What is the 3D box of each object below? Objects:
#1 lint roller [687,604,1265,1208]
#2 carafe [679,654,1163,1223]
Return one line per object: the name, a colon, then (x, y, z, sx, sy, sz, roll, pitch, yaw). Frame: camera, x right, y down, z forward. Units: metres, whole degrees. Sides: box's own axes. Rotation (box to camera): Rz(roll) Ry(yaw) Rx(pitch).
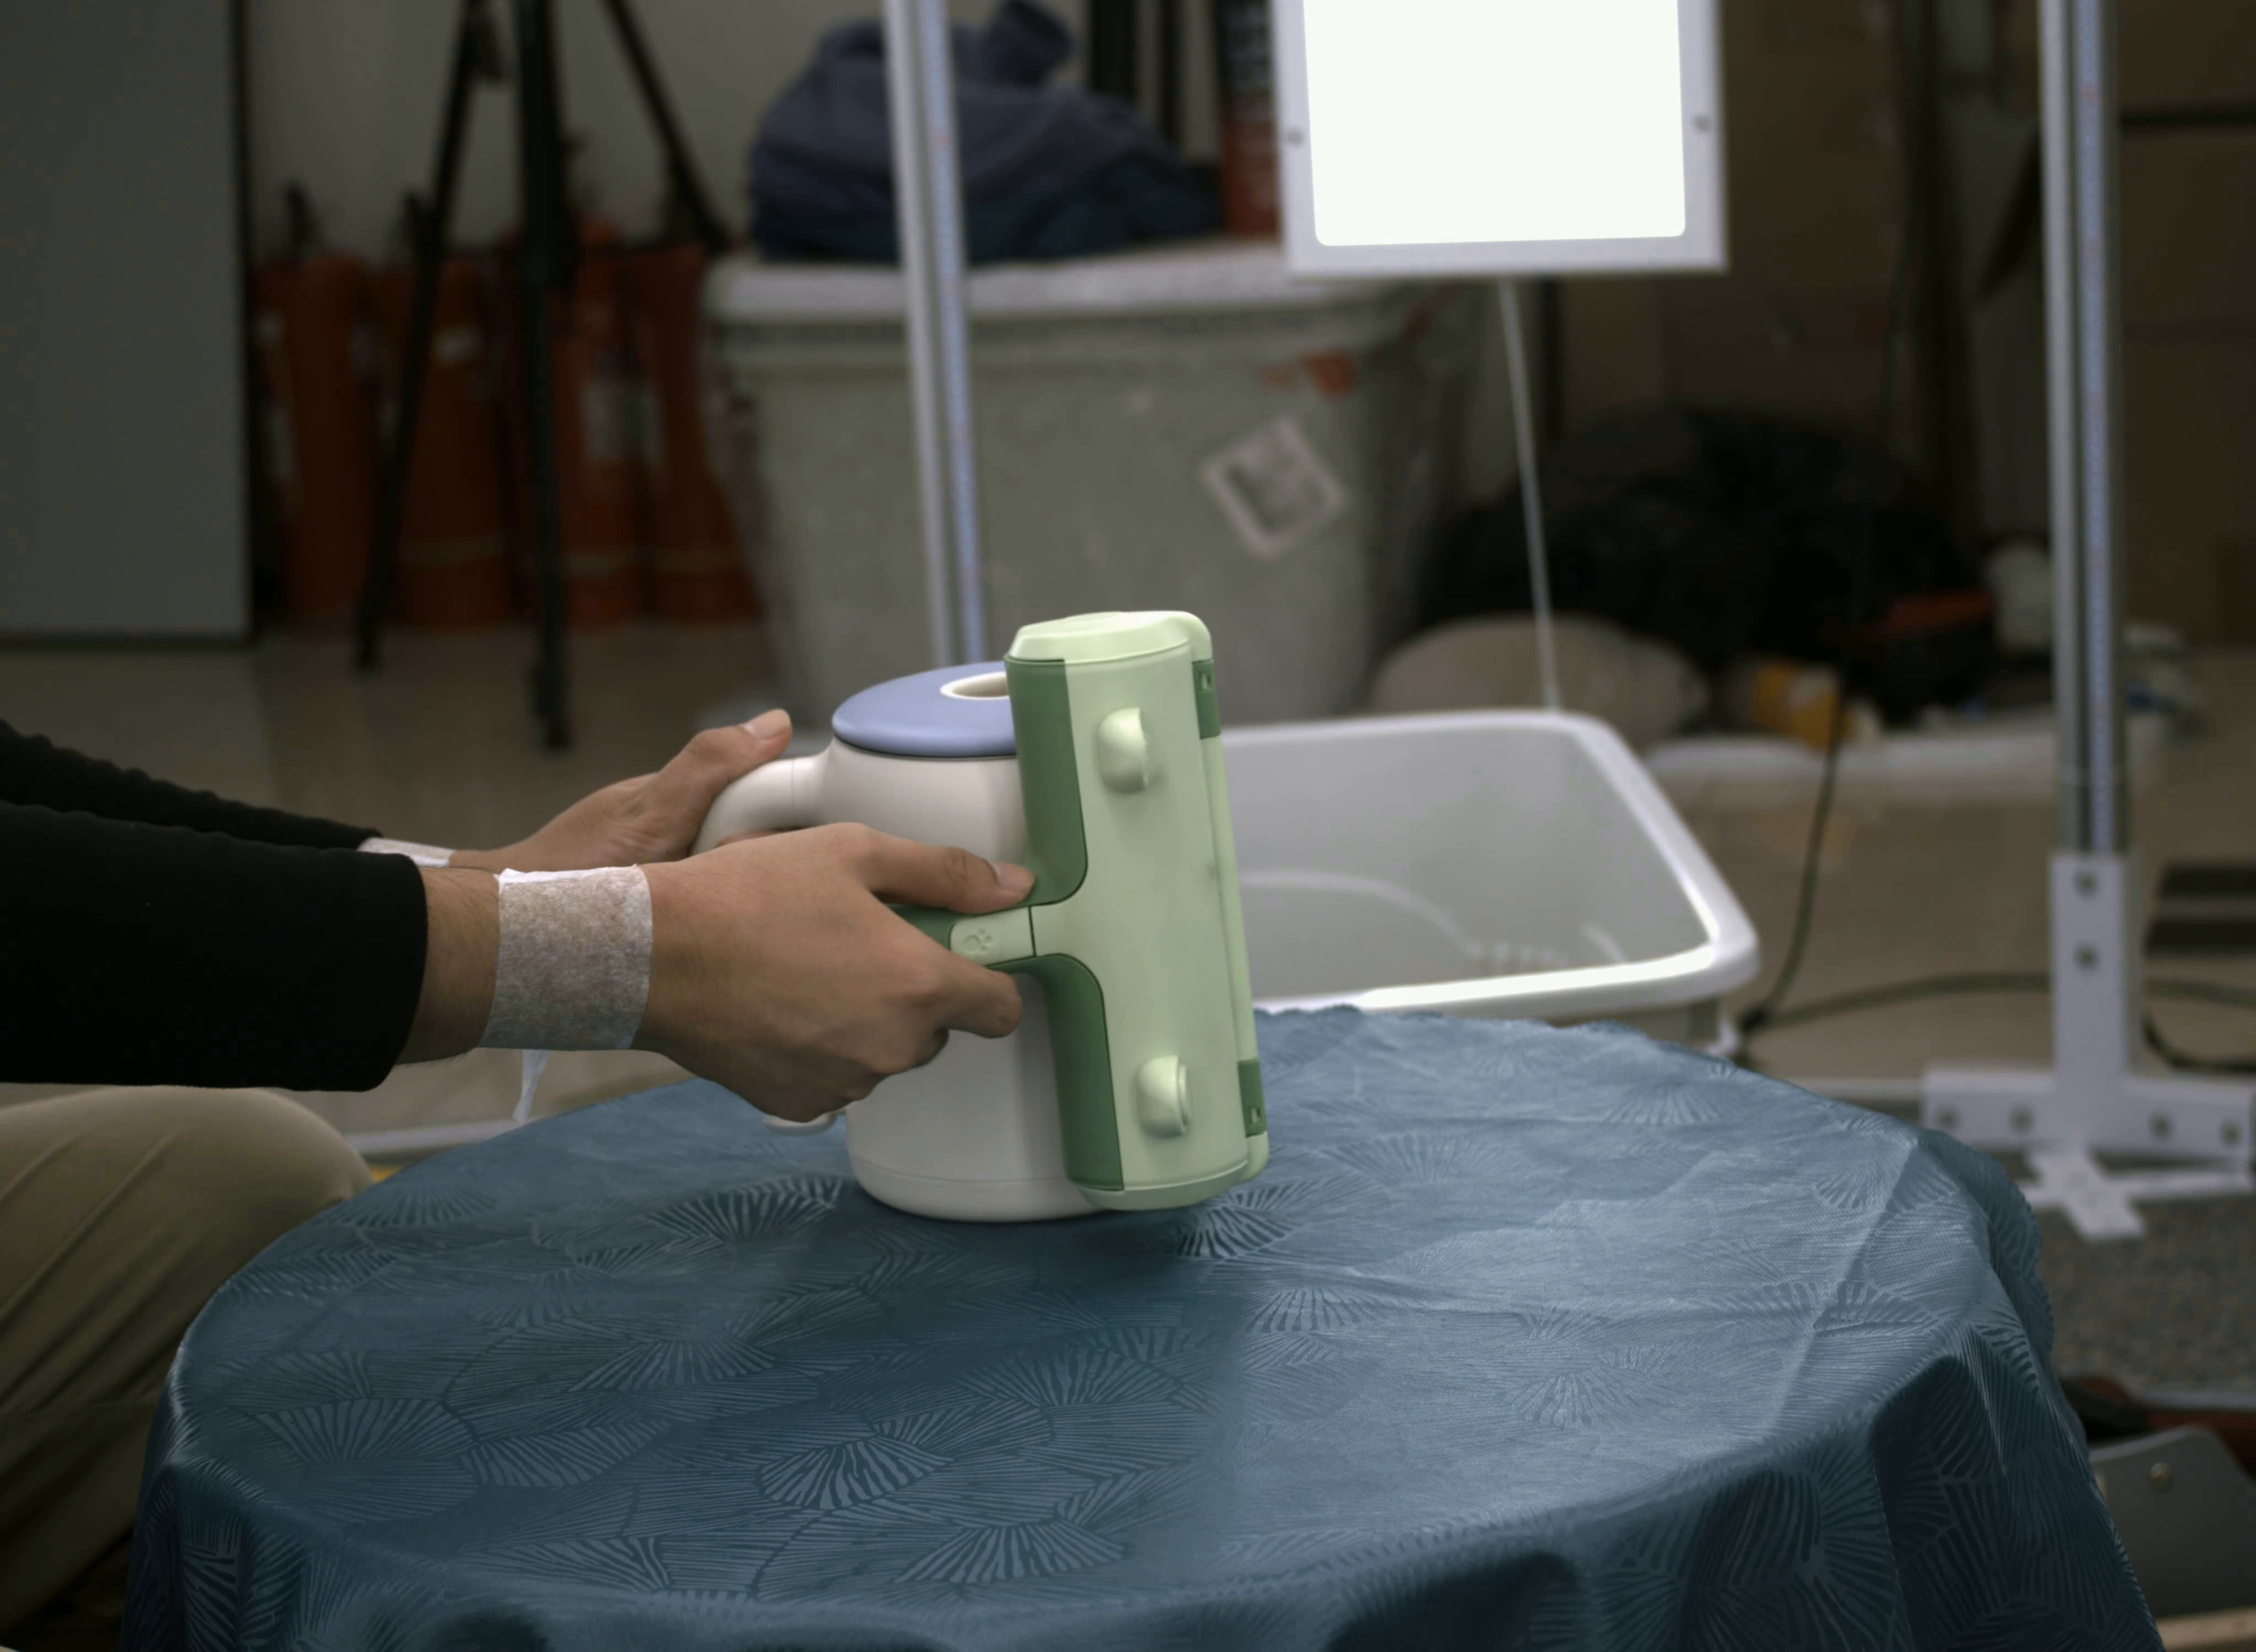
lint roller: (-0.047, 0.037, 1.793, 0.180, 0.199, 0.083, -10, 11, -21)
carafe: (-0.062, 0.040, 1.912, 0.191, 0.183, 0.131, -6, 13, 4)
